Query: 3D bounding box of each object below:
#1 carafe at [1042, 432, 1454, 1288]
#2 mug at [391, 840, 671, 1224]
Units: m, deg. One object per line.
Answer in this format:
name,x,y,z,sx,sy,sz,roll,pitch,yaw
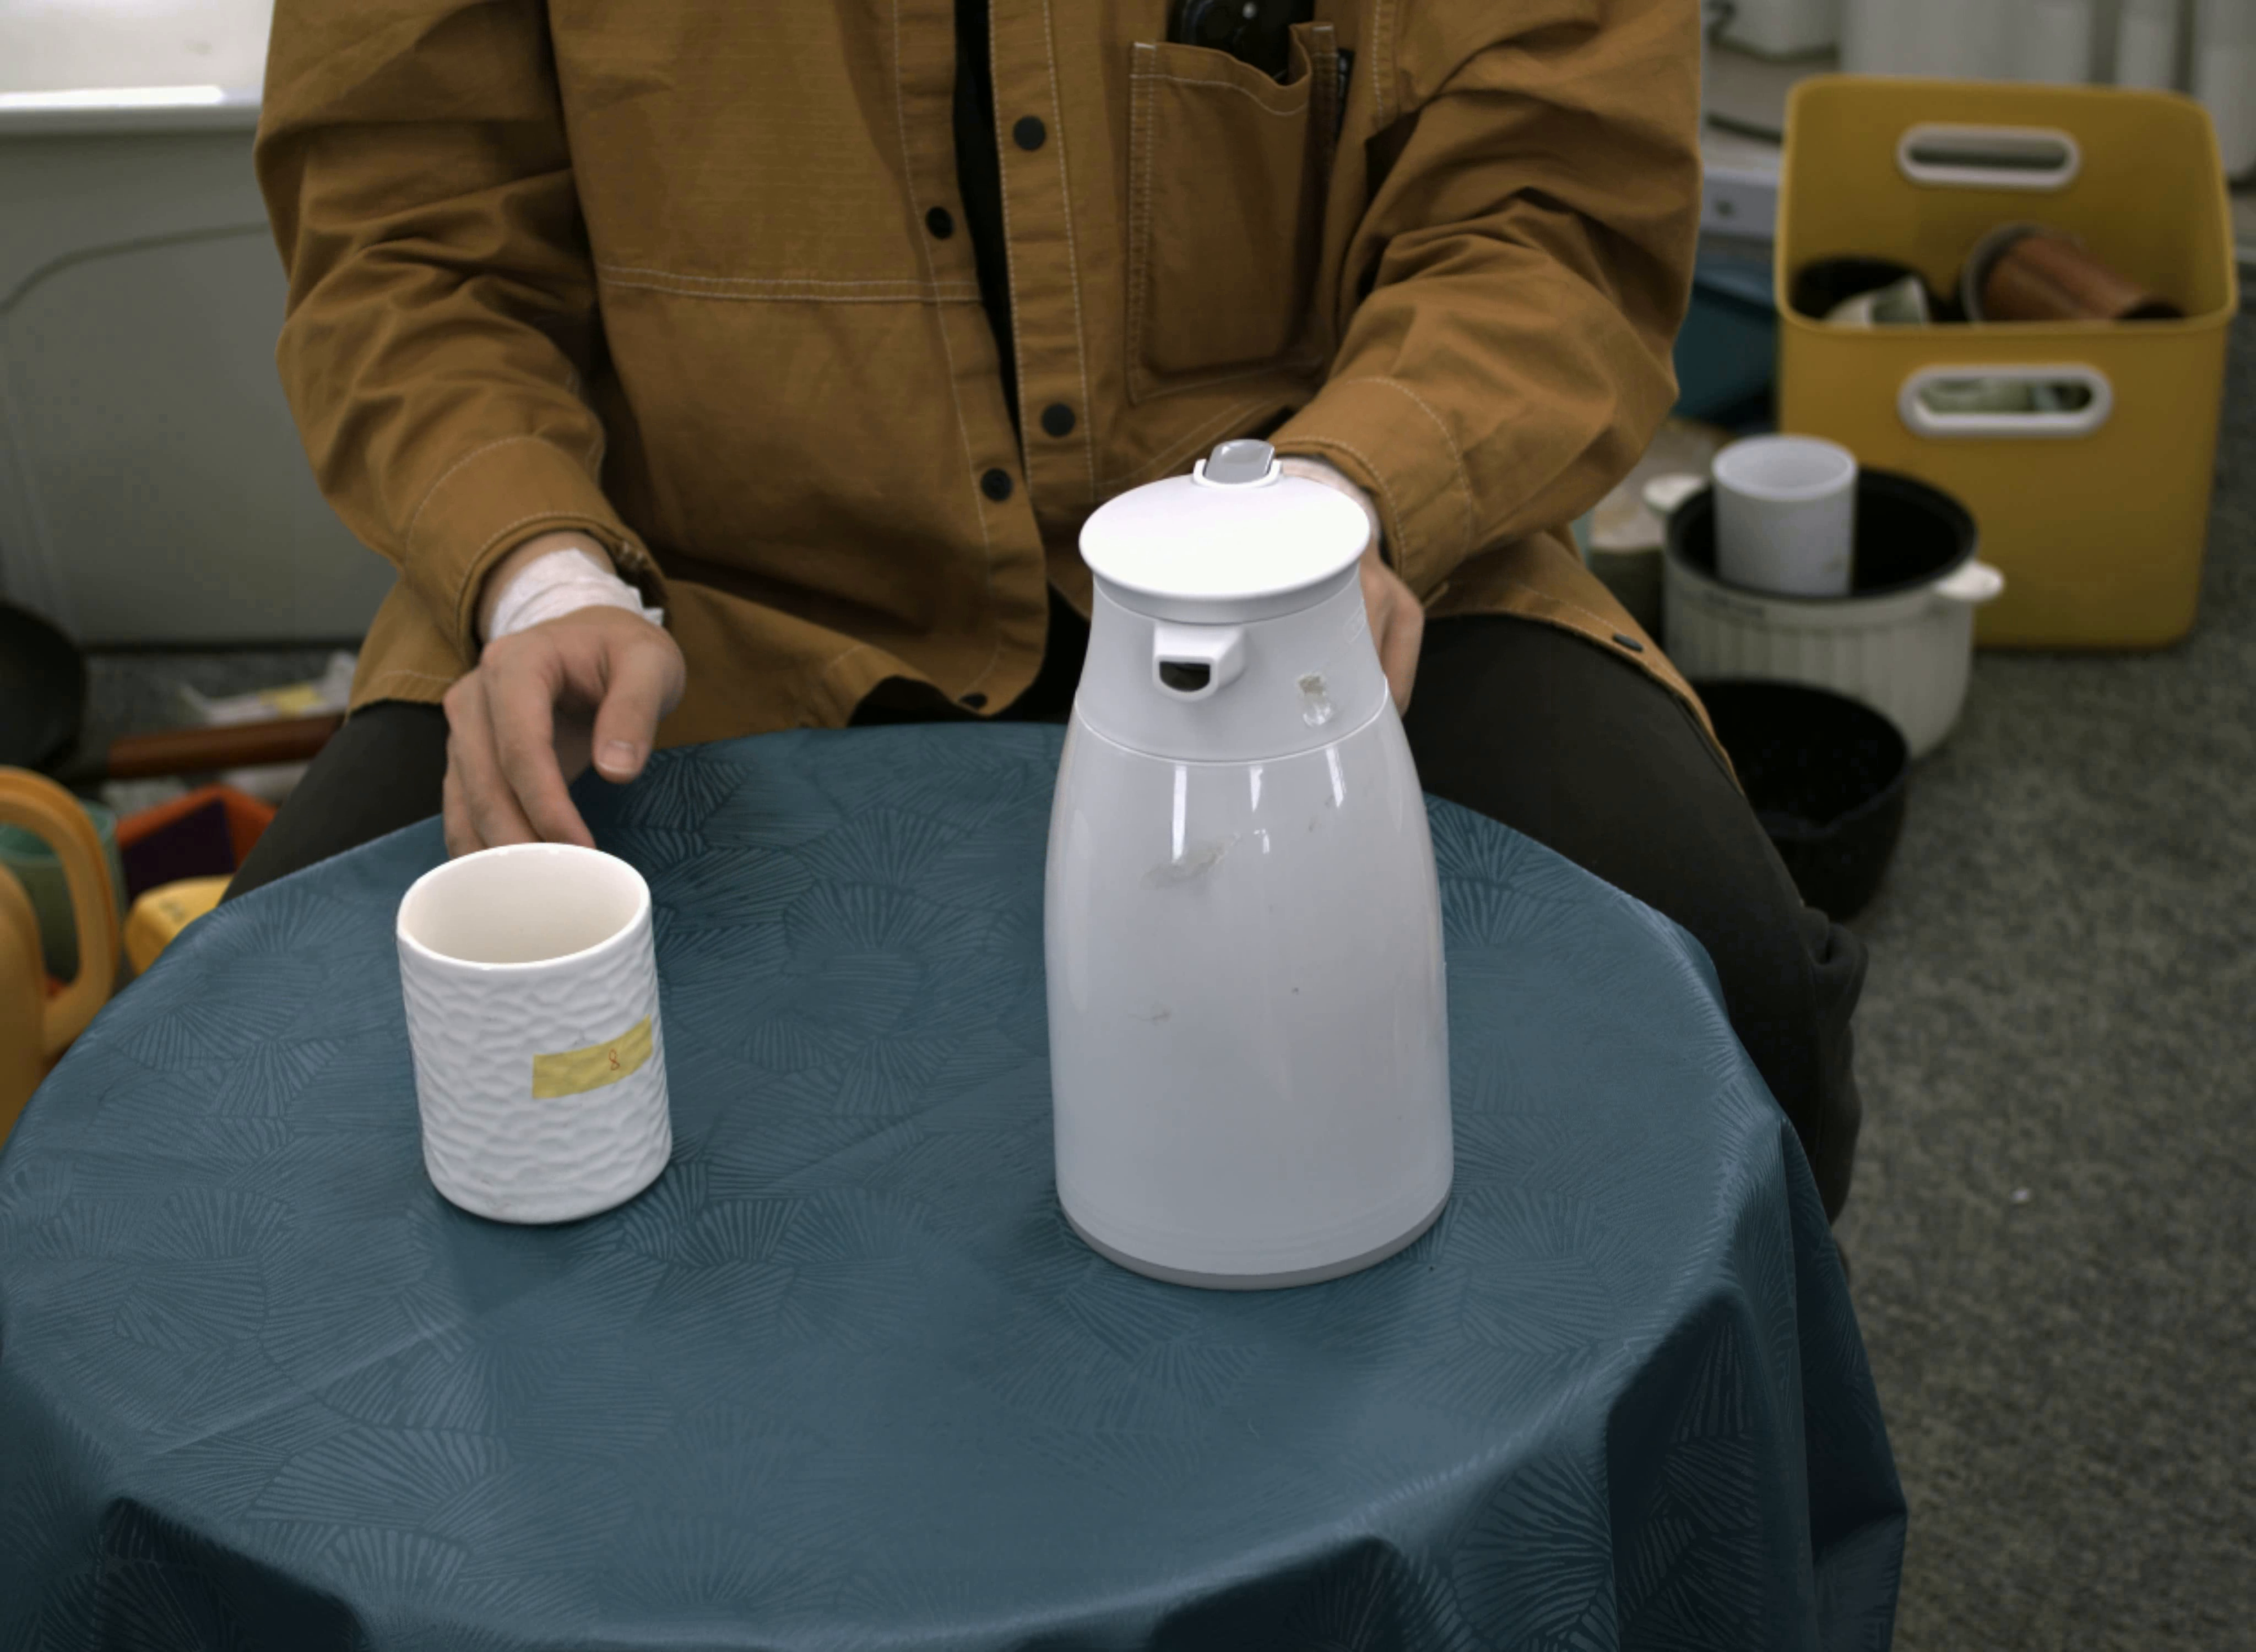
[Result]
carafe,0.038,0.000,1.823,0.131,0.246,0.170,2,26,11
mug,-0.202,0.063,1.881,0.085,0.101,0.119,-11,28,-14
